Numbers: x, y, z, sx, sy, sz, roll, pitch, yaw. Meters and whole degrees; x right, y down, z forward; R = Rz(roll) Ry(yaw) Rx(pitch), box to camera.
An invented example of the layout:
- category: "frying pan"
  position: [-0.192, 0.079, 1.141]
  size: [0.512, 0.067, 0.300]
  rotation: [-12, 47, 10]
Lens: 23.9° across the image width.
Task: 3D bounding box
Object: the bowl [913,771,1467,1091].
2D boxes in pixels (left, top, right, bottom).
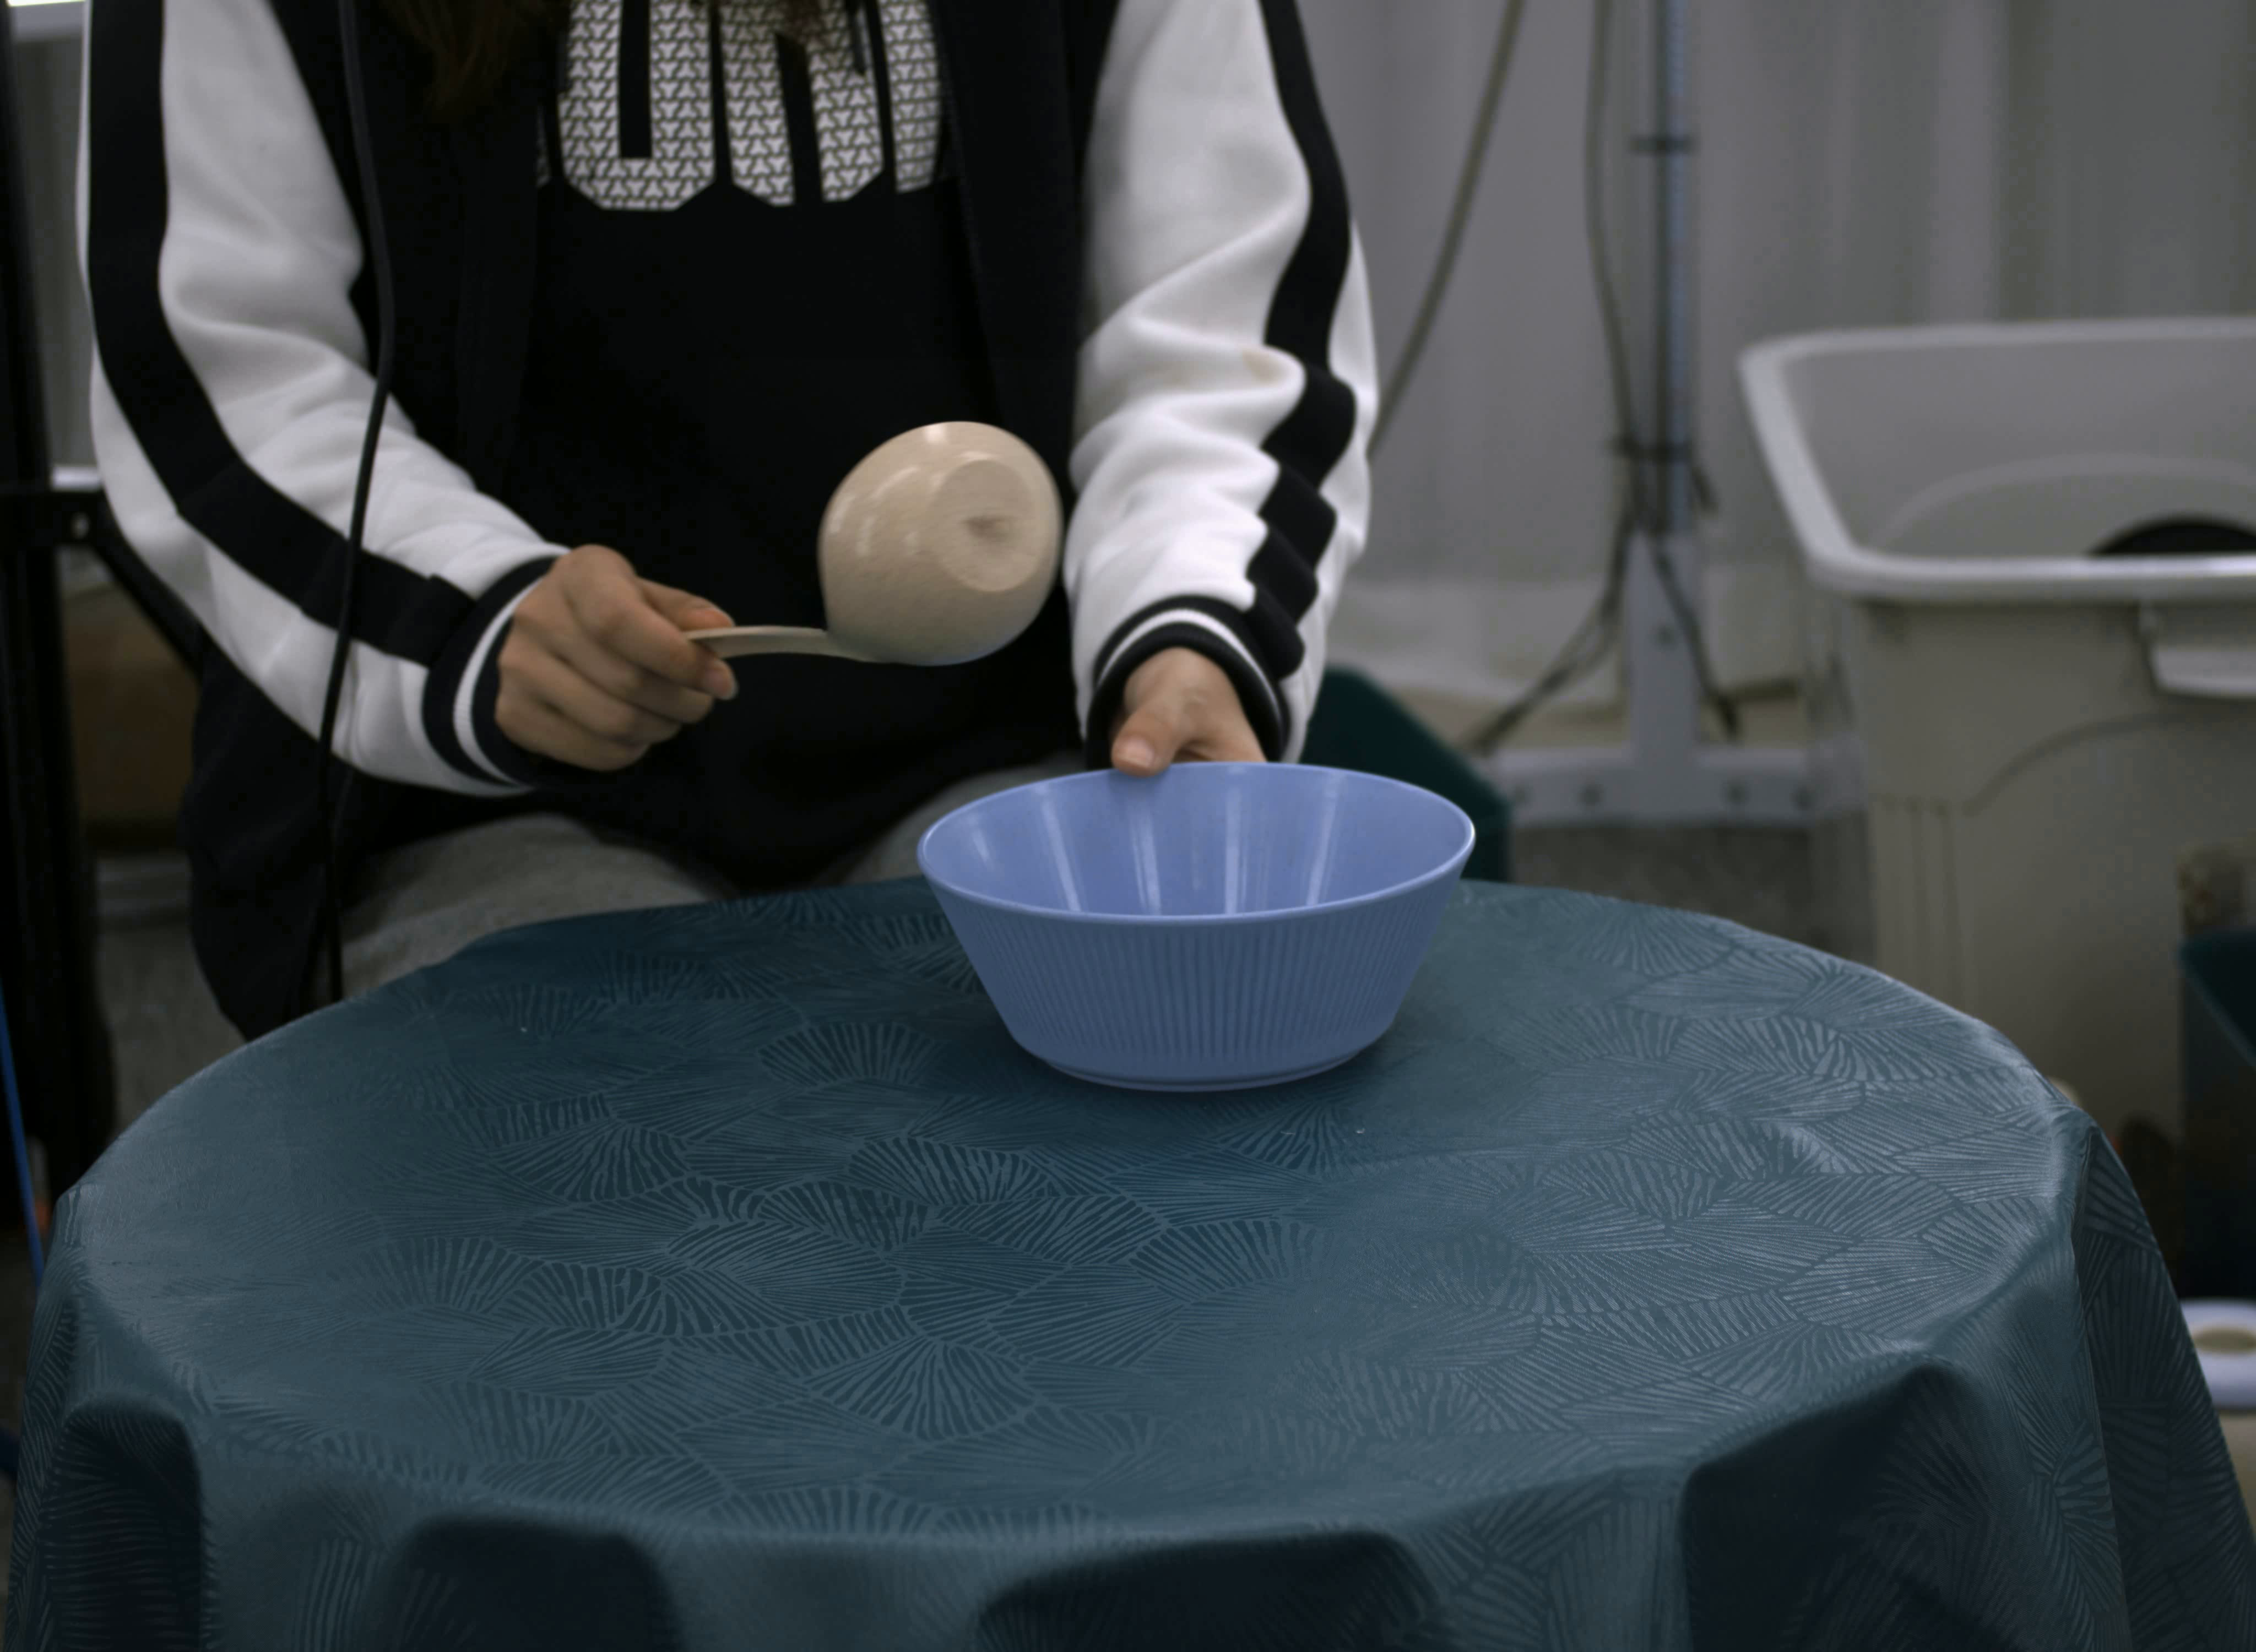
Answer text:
- category: "bowl"
  position: [0.020, 0.035, 1.684]
  size: [0.175, 0.070, 0.177]
  rotation: [-2, 16, -1]

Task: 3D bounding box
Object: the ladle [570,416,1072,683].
- category: "ladle"
  position: [-0.102, -0.083, 1.687]
  size: [0.071, 0.073, 0.259]
  rotation: [37, -19, -24]
